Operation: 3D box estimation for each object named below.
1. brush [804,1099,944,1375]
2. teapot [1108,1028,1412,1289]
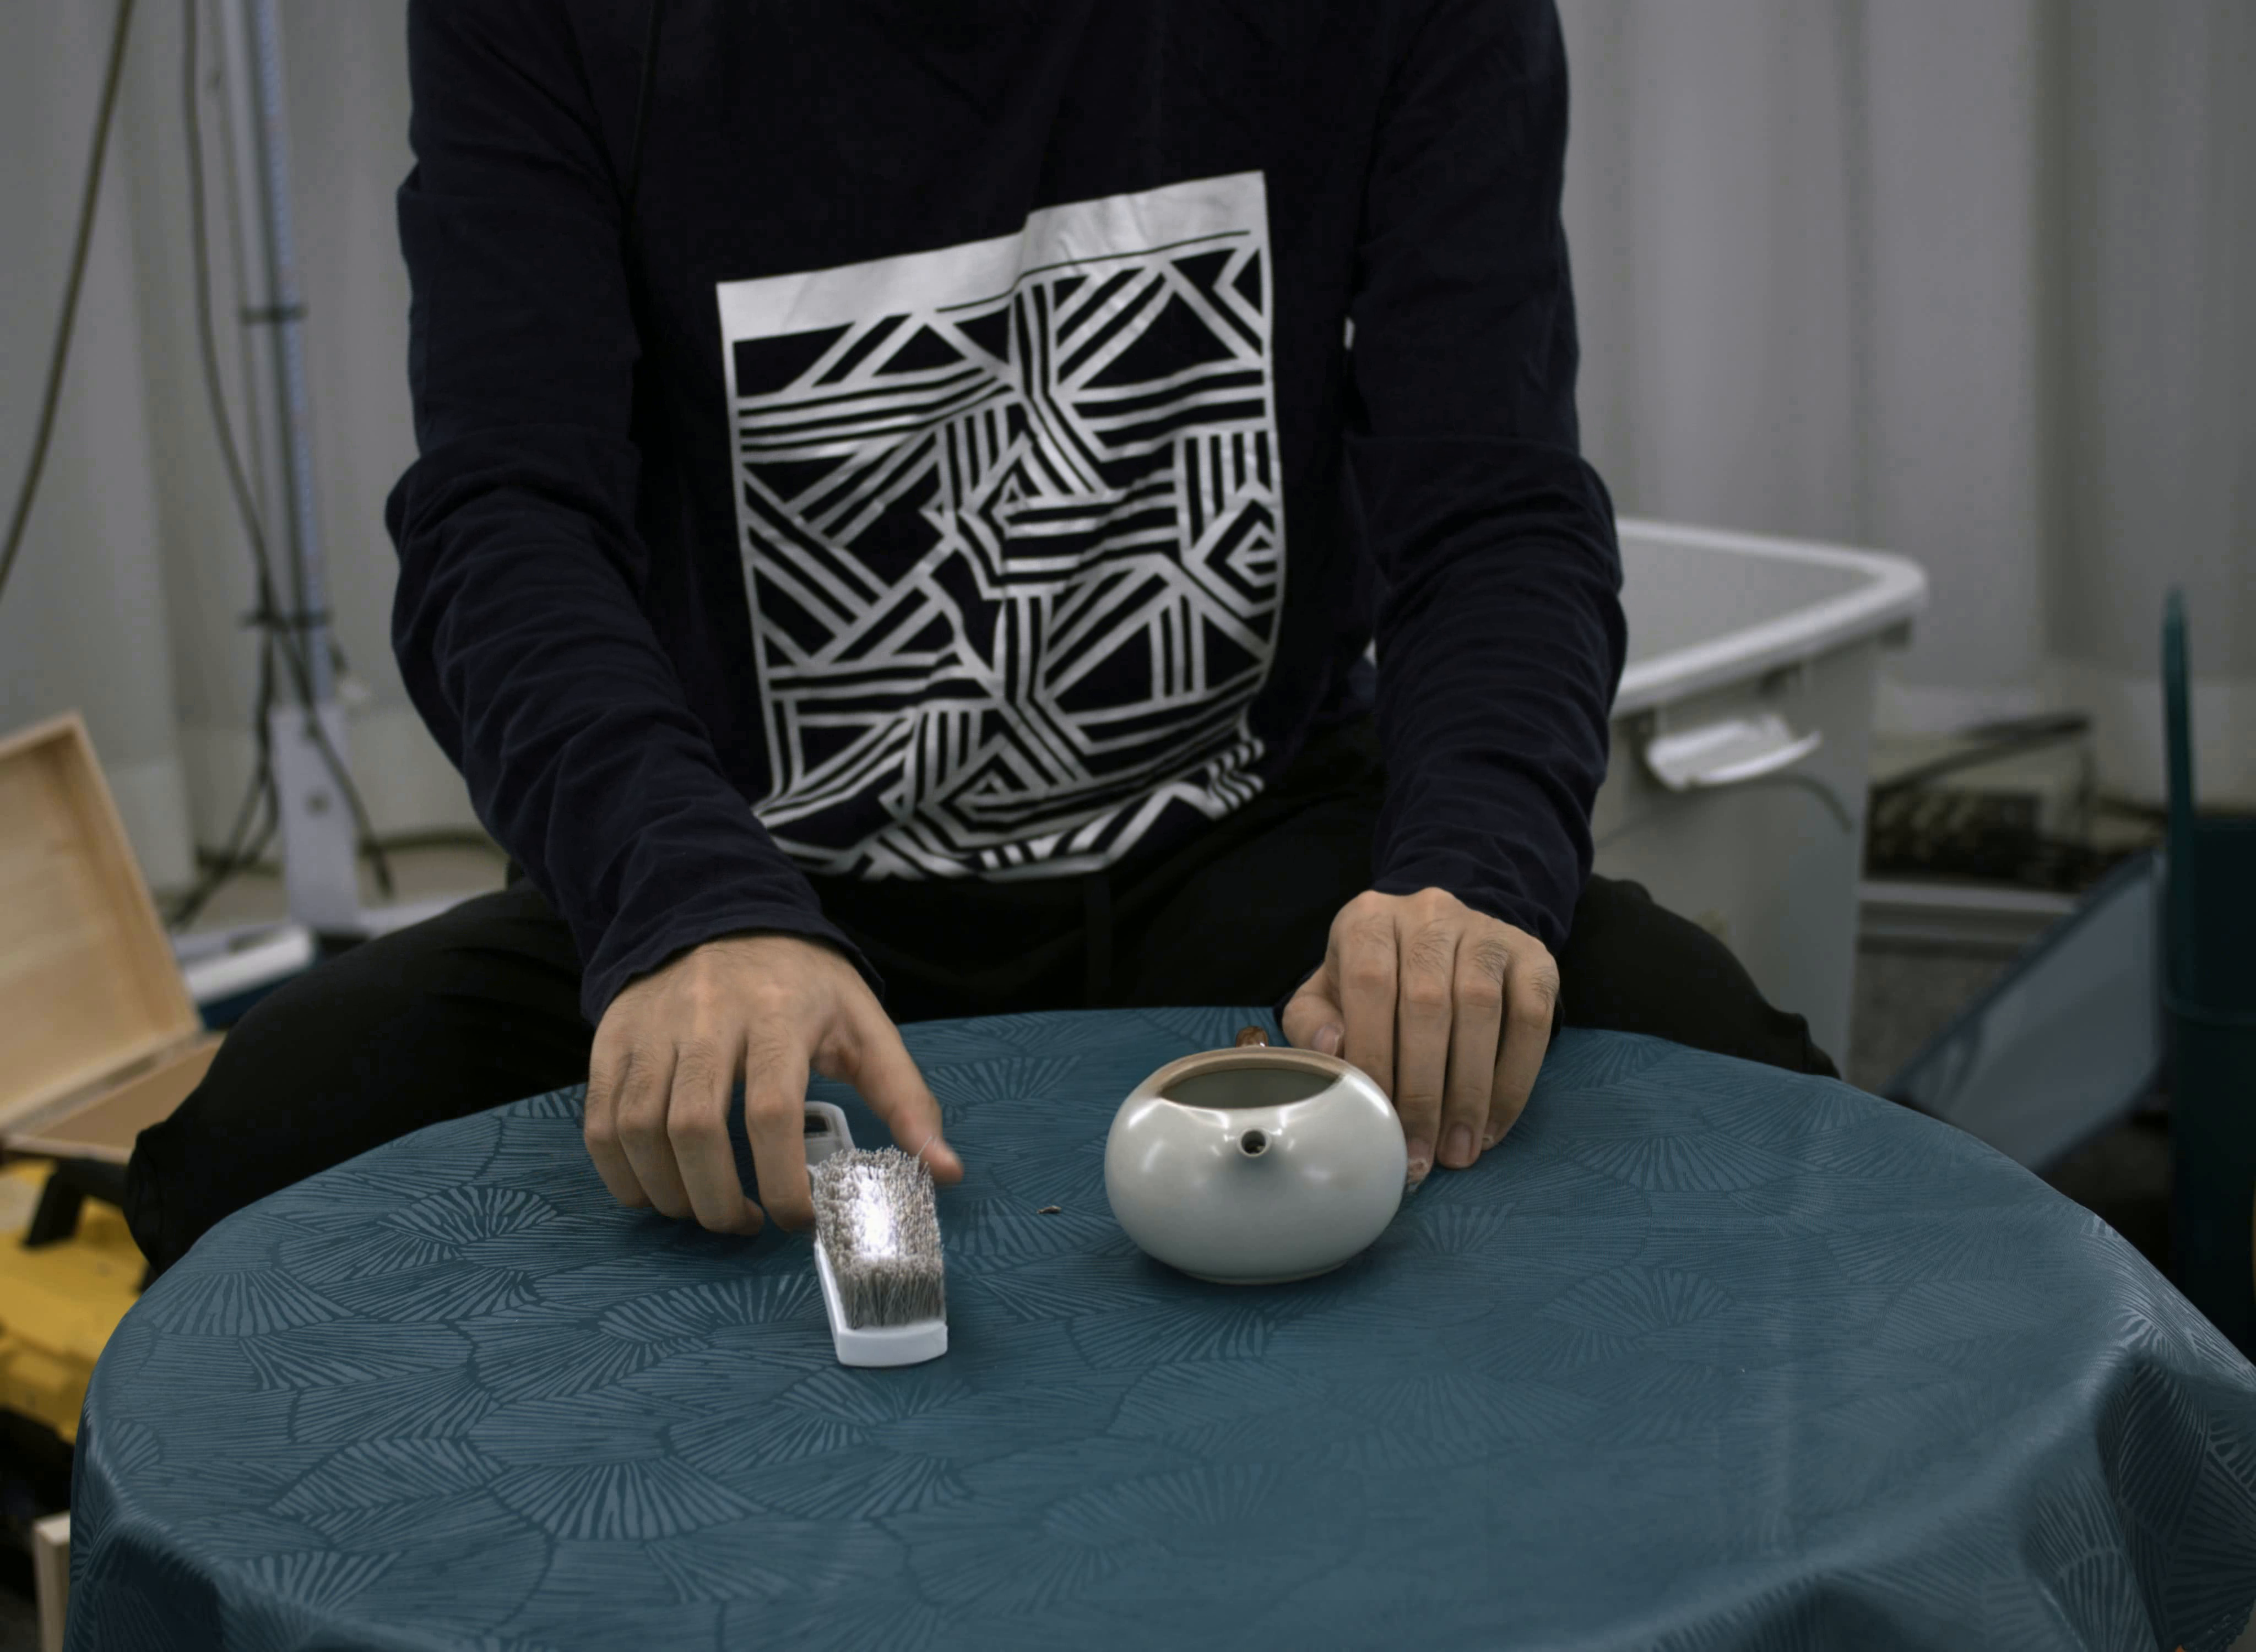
[{"bbox_3d":[-0.083,0.106,1.673,0.034,0.050,0.245,-9,16,-4],"label":"brush"},{"bbox_3d":[0.039,0.100,1.653,0.091,0.059,0.129,-5,15,0],"label":"teapot"}]
